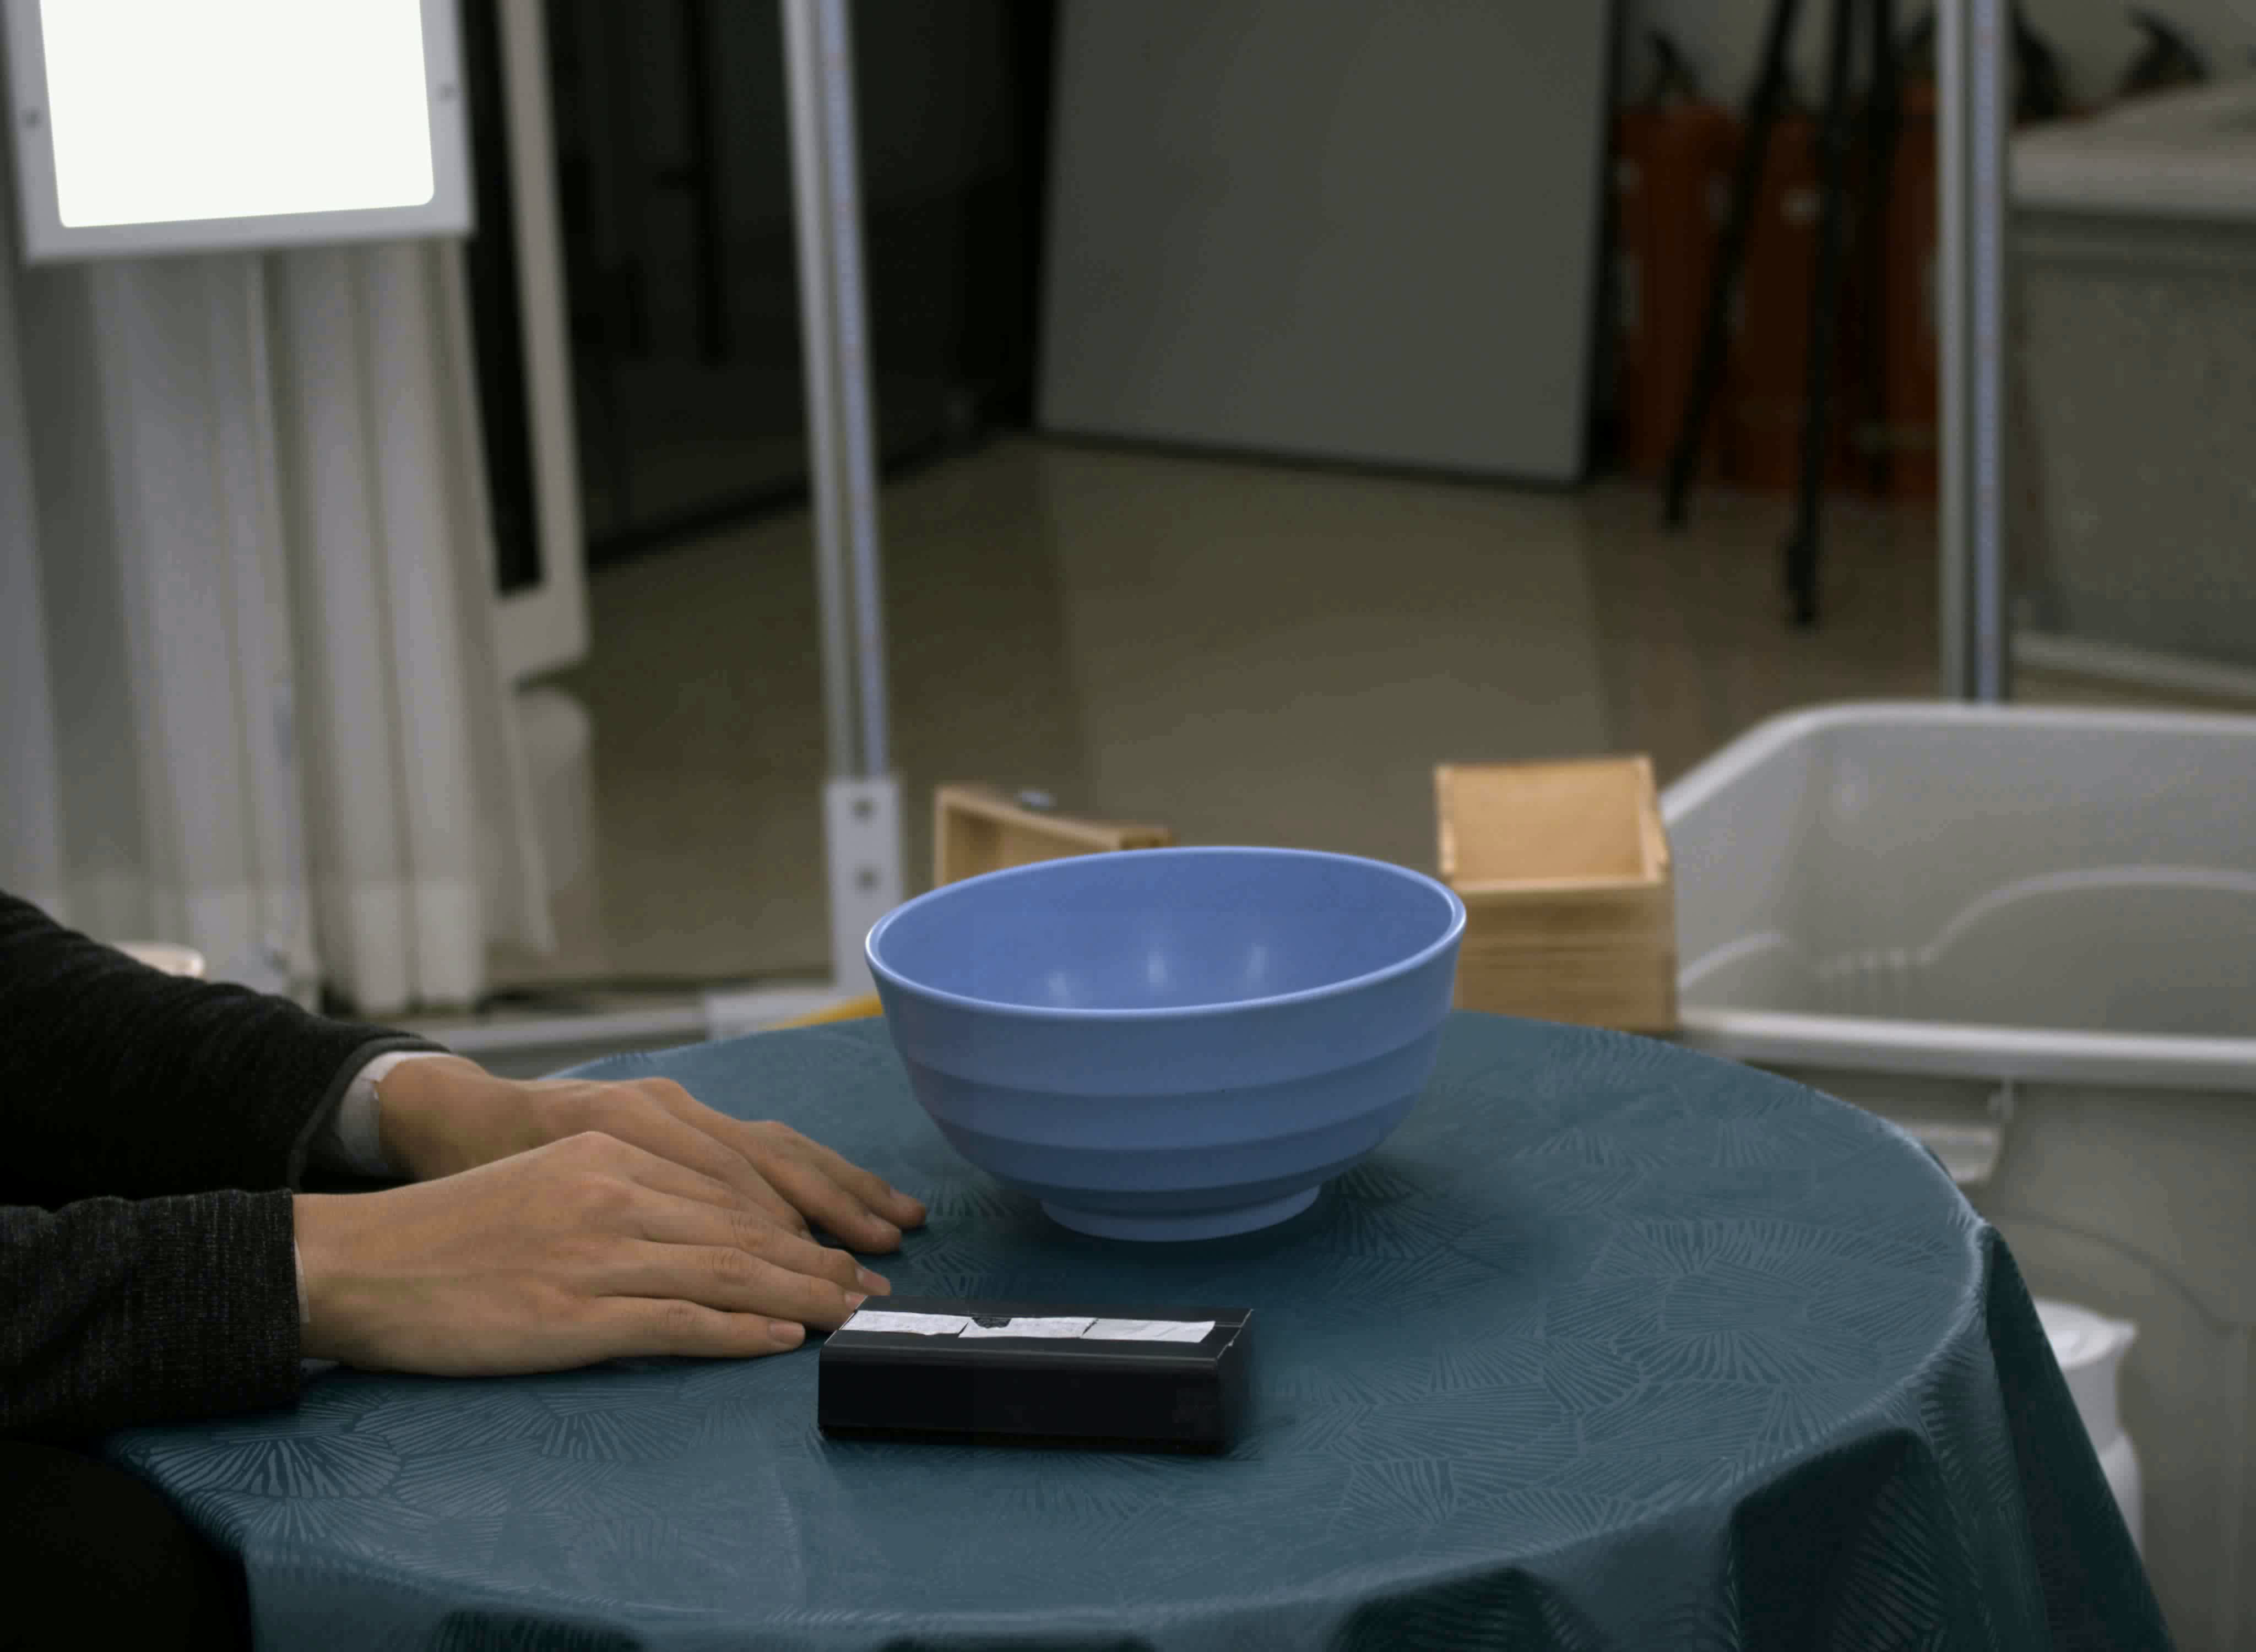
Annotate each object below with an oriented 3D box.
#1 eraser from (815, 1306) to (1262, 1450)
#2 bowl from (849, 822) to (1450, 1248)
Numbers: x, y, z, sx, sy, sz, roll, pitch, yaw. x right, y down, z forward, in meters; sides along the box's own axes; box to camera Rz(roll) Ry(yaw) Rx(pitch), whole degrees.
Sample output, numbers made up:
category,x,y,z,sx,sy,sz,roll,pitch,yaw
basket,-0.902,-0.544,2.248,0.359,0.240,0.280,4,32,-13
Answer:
category,x,y,z,sx,sy,sz,roll,pitch,yaw
eraser,-0.024,0.159,1.561,0.125,0.031,0.053,-1,11,16
bowl,0.008,0.075,1.754,0.194,0.096,0.197,-3,20,0
